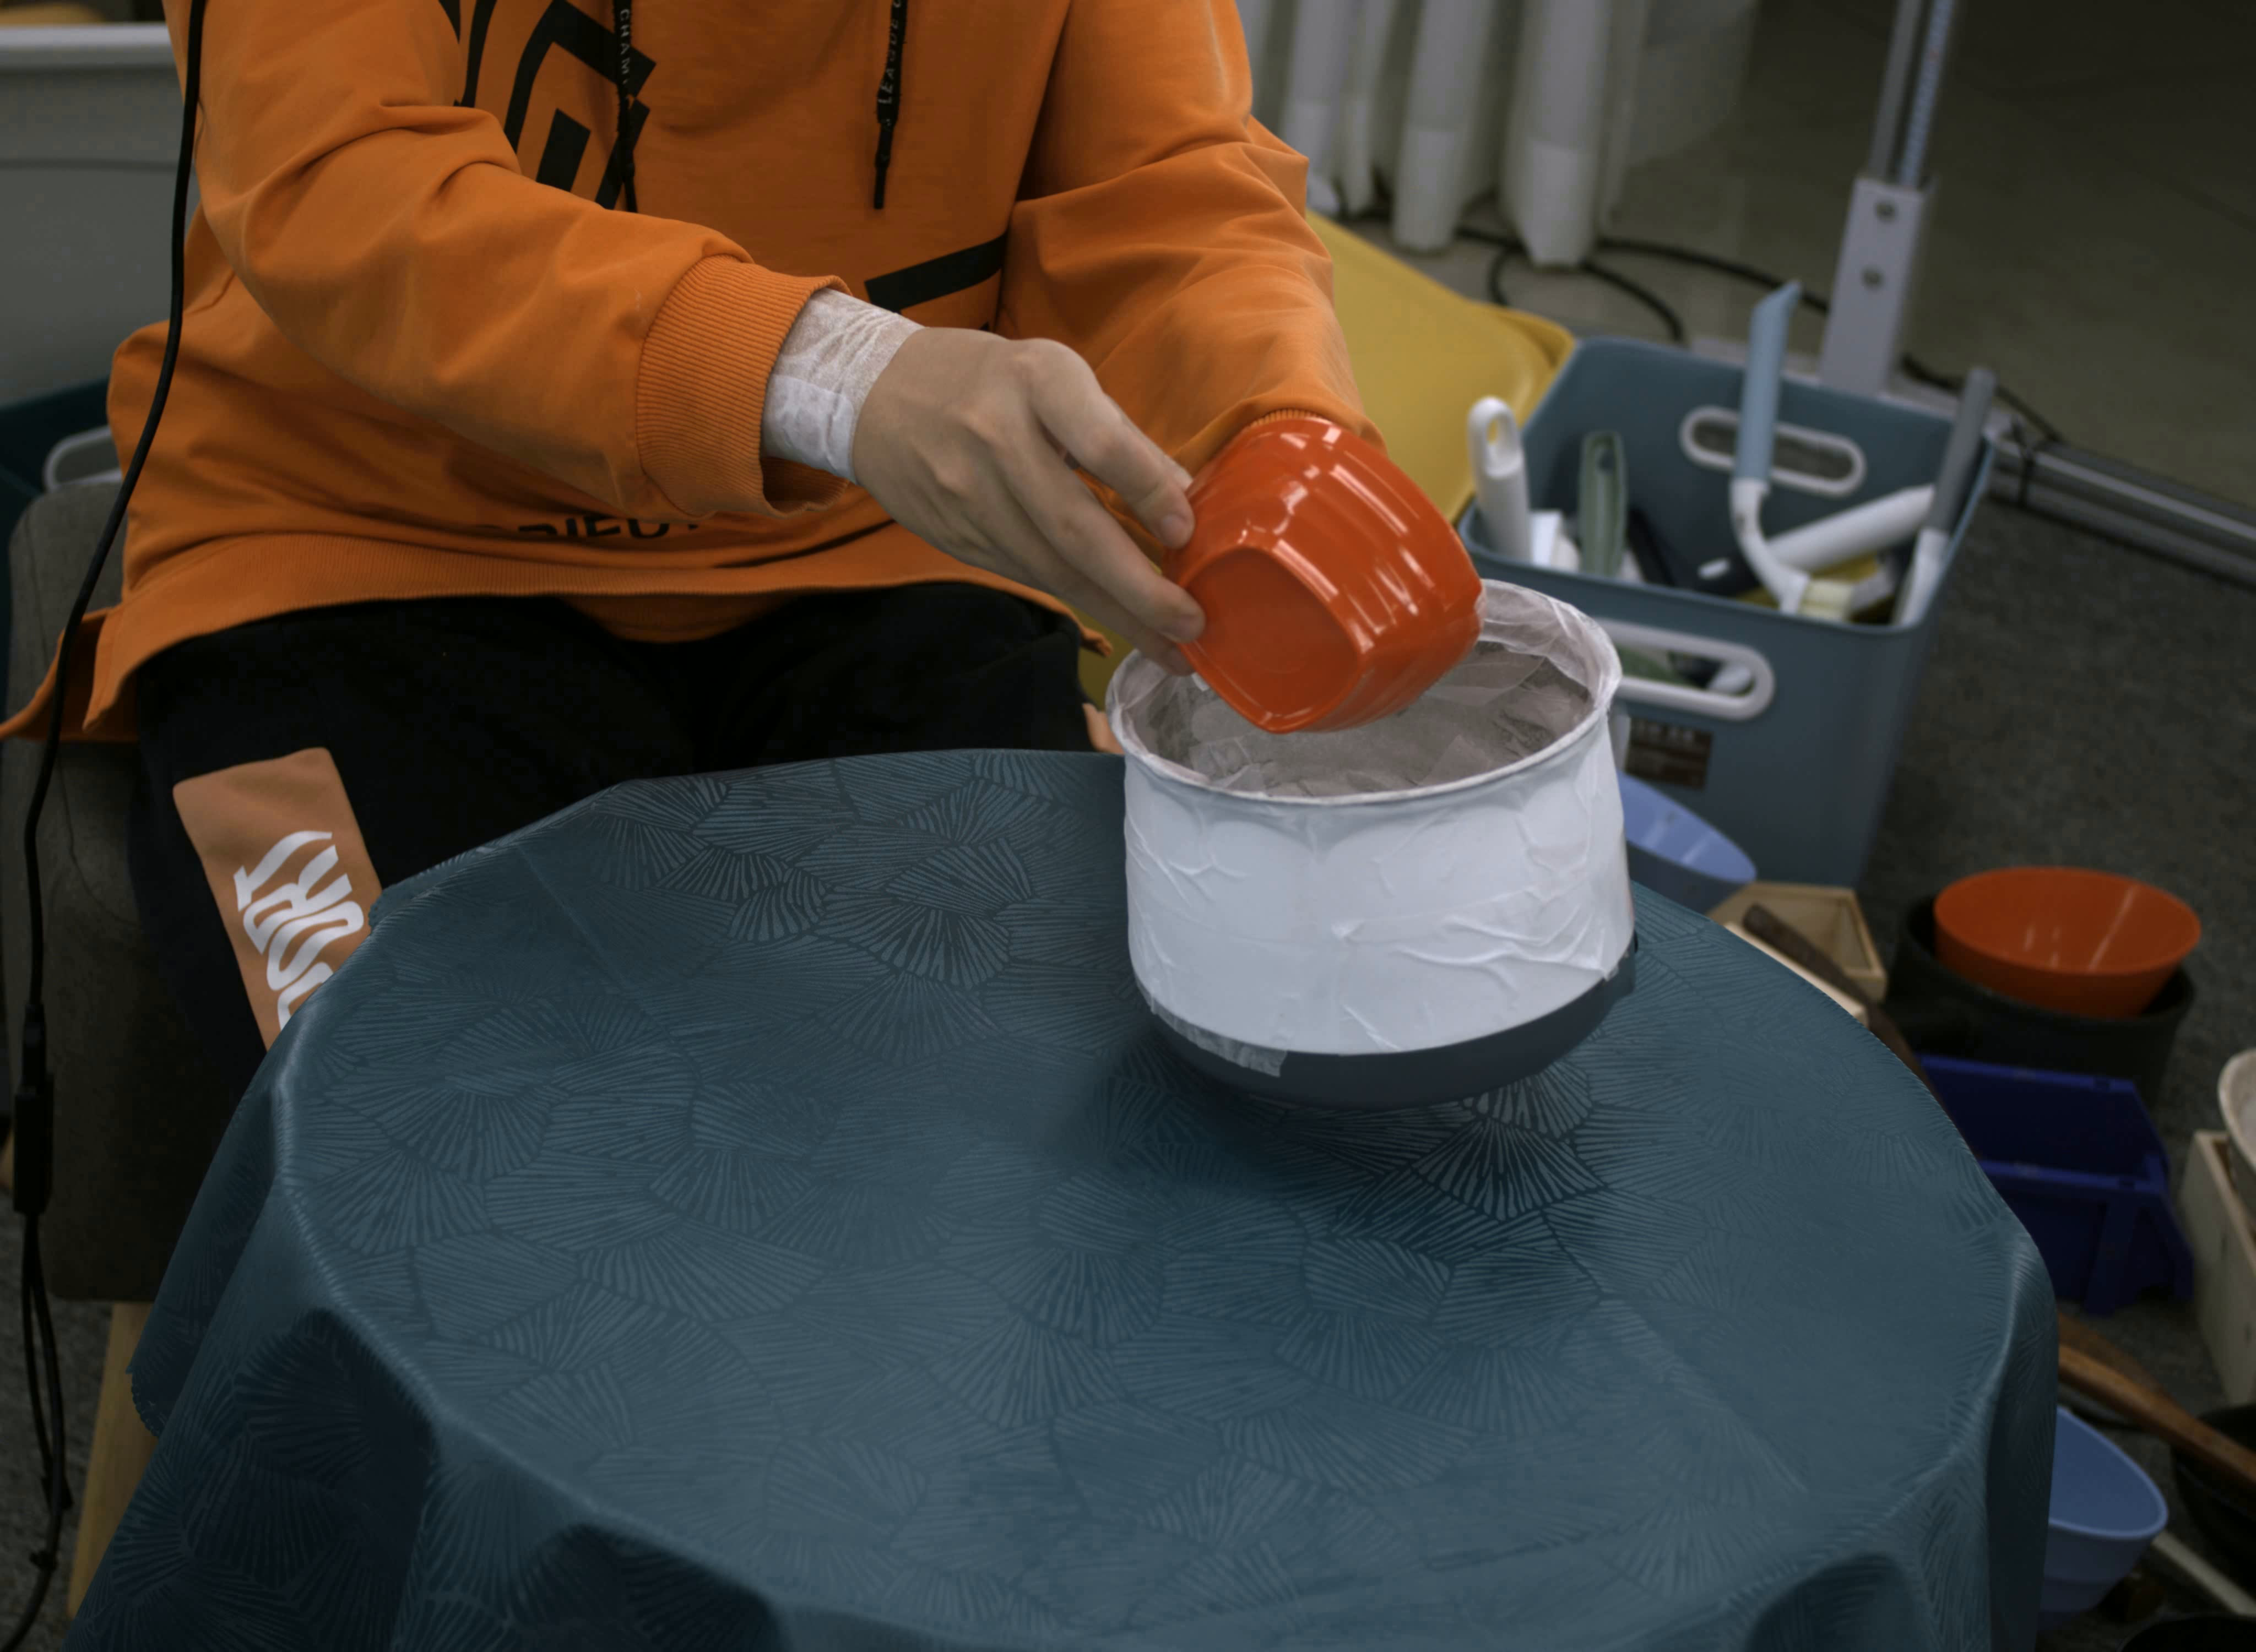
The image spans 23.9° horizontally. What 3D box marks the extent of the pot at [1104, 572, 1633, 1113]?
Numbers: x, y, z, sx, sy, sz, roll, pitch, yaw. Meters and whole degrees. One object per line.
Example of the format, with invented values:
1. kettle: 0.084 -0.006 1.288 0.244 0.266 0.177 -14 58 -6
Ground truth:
1. pot: 0.080 -0.006 1.864 0.178 0.136 0.235 -8 27 -6

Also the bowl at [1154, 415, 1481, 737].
1. bowl: 0.055 -0.075 1.792 0.119 0.118 0.051 20 40 23
